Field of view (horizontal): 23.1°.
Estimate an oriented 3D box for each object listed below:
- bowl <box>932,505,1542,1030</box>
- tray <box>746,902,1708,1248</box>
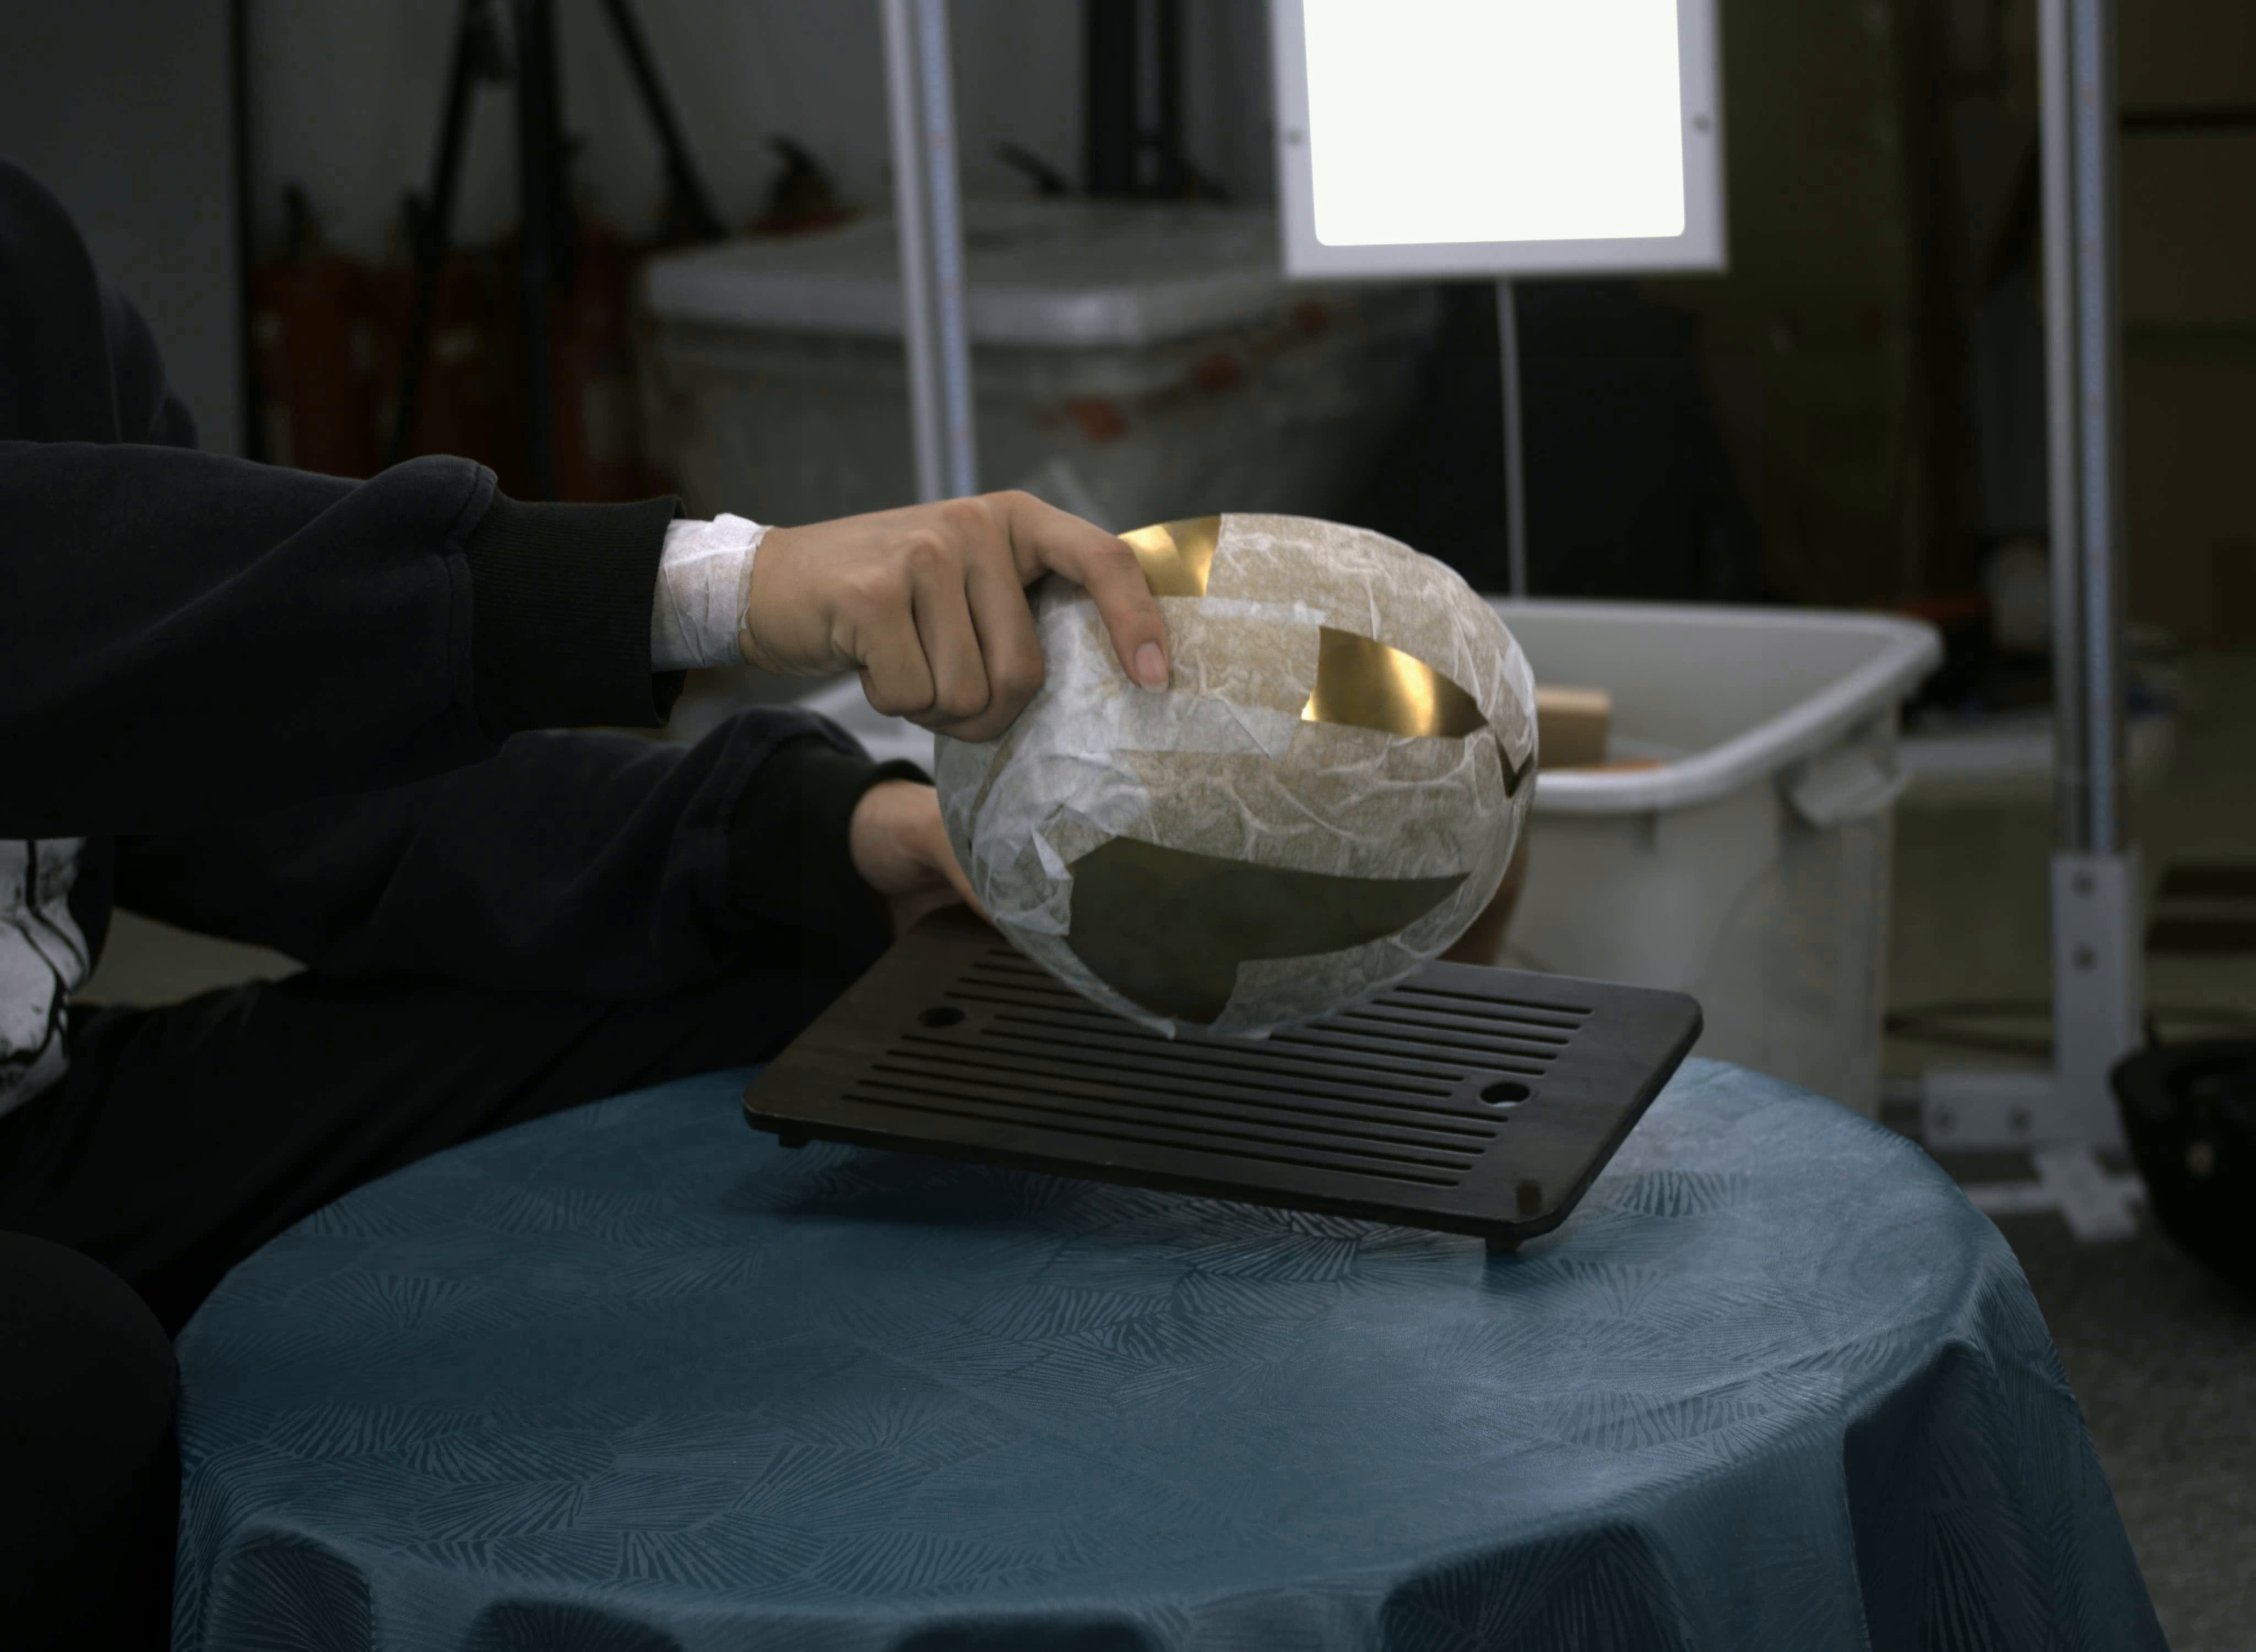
[{"bbox_3d":[0.036,0.002,1.789,0.214,0.215,0.094,-3,47,2],"label":"bowl"},{"bbox_3d":[0.035,0.085,1.919,0.311,0.019,0.167,6,28,26],"label":"tray"}]
